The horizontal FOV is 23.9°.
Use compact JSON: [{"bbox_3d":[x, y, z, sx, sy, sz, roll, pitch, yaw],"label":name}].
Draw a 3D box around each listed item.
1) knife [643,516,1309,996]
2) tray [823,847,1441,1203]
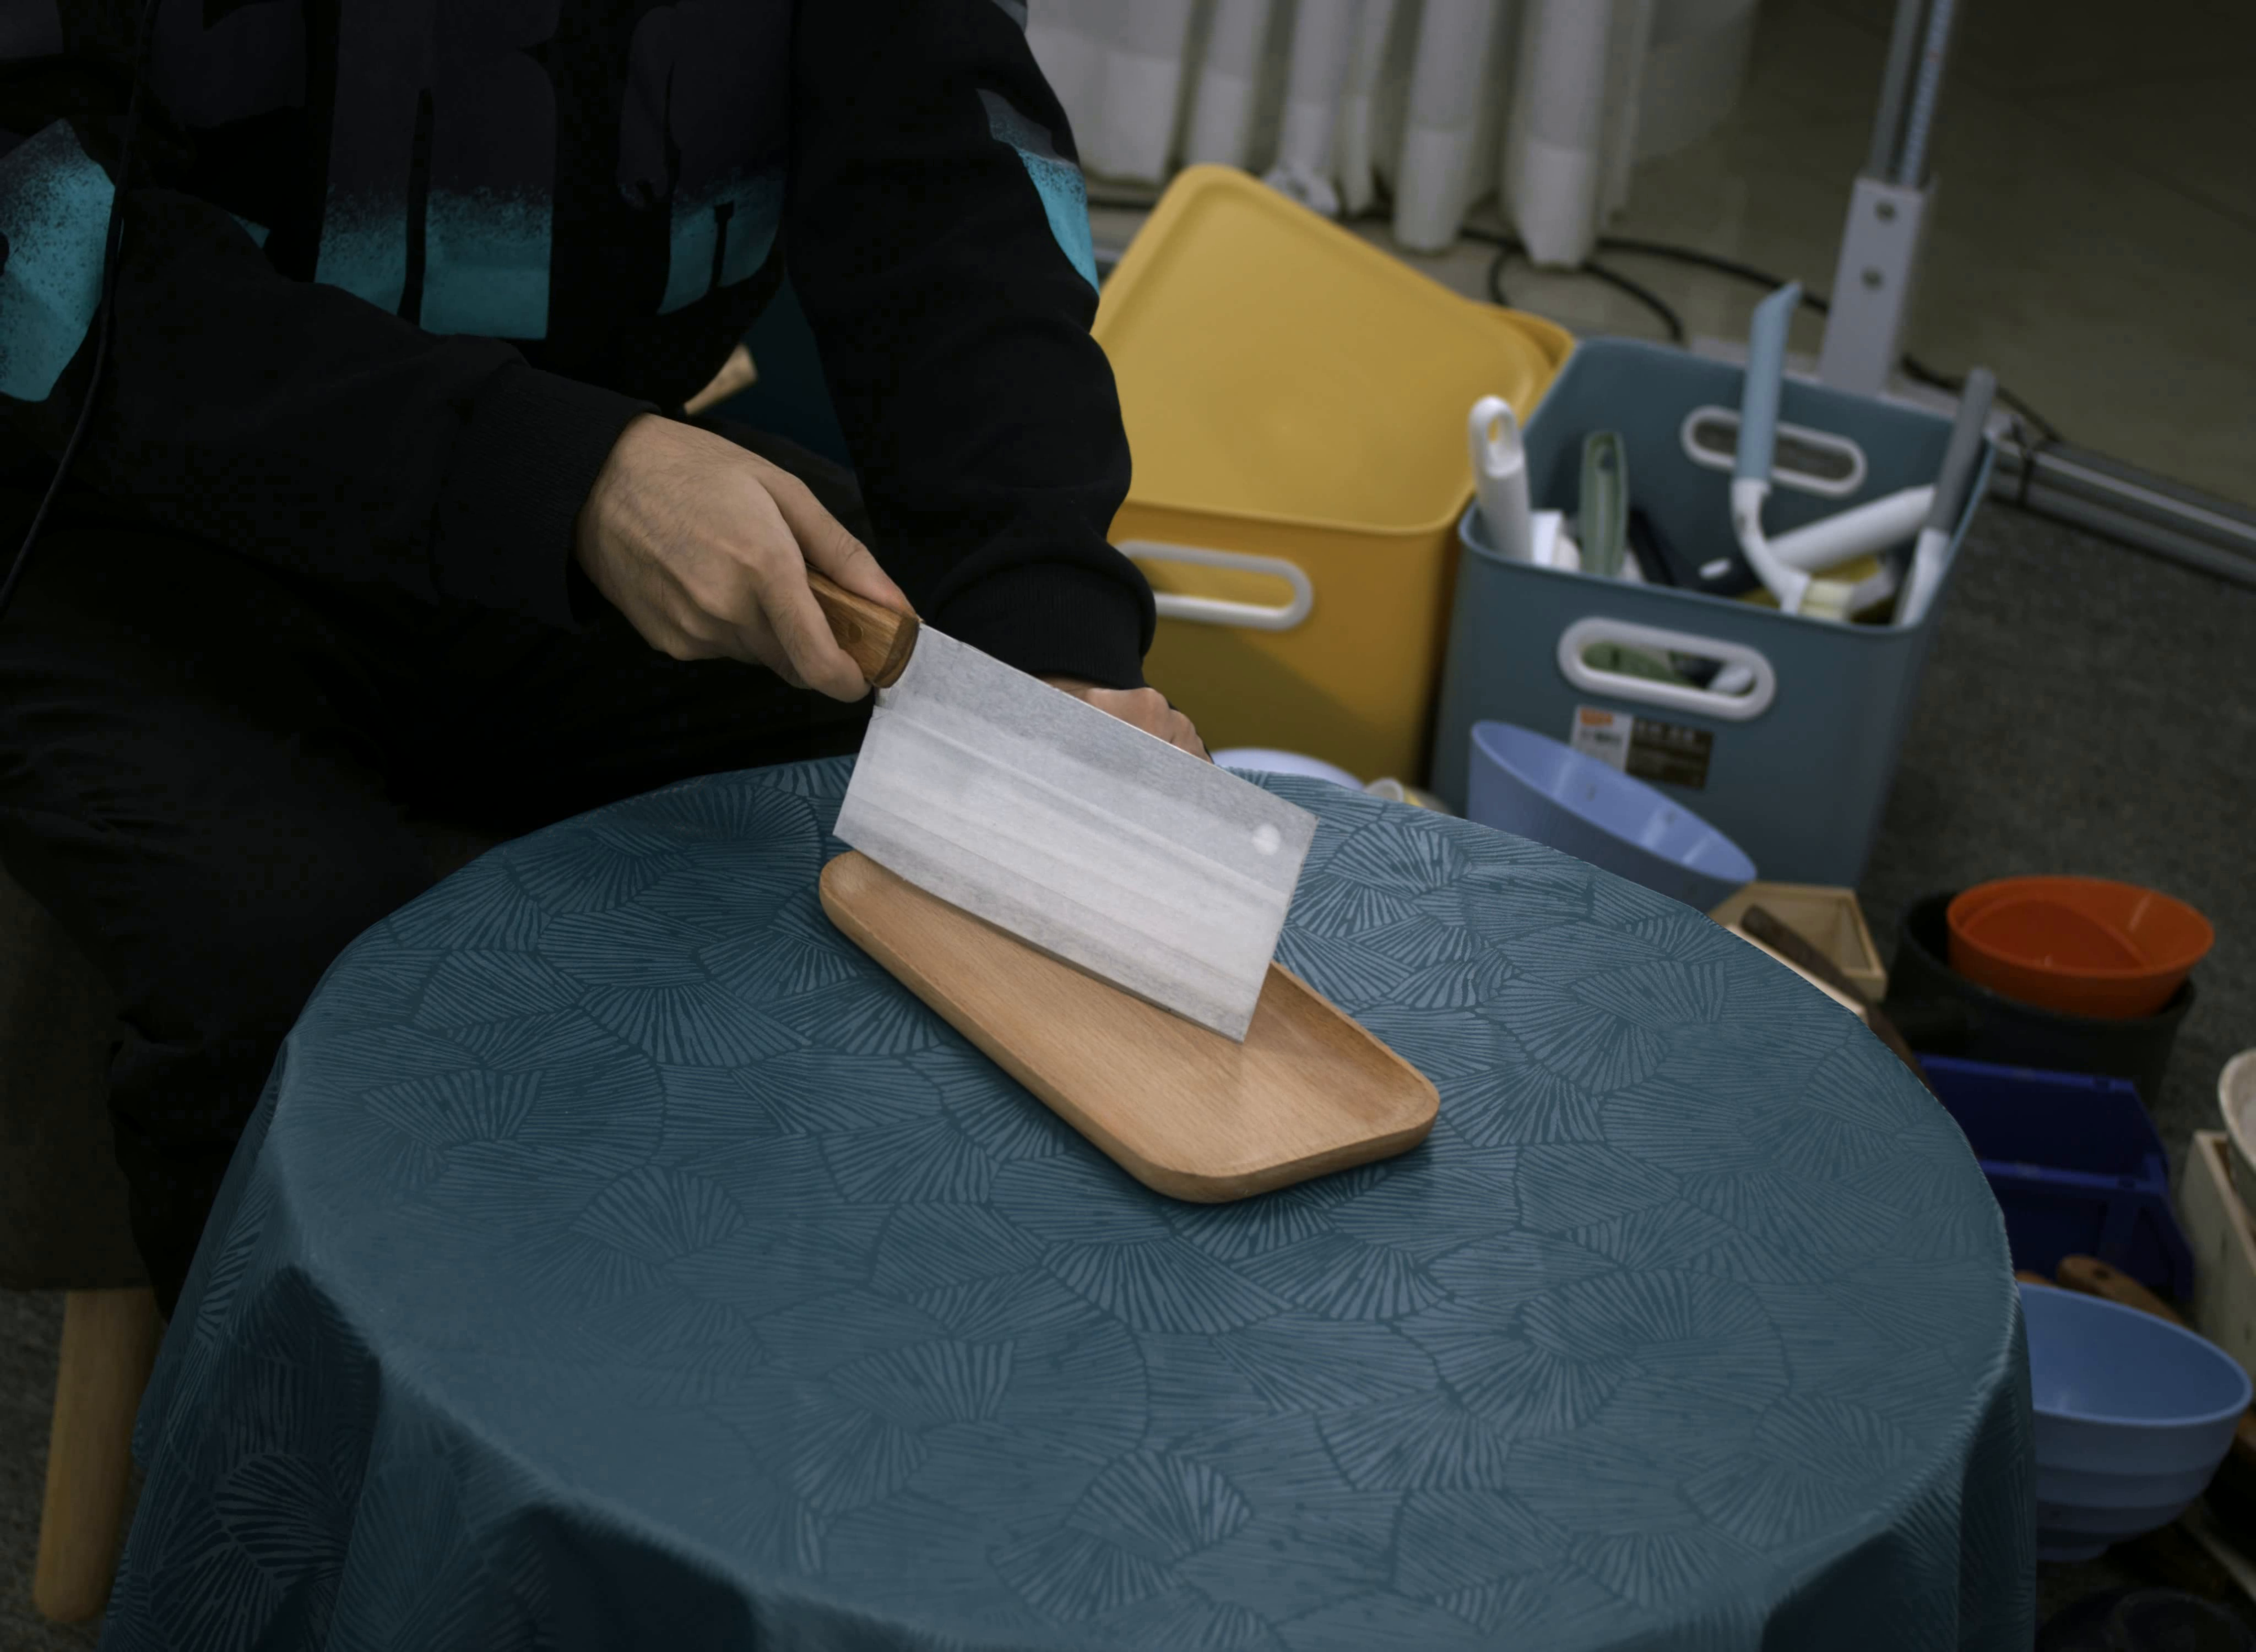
[{"bbox_3d":[-0.066,-0.024,1.945,0.307,0.093,0.021,26,17,29],"label":"knife"},{"bbox_3d":[-0.002,0.062,1.905,0.129,0.023,0.253,-9,30,-32],"label":"tray"}]
